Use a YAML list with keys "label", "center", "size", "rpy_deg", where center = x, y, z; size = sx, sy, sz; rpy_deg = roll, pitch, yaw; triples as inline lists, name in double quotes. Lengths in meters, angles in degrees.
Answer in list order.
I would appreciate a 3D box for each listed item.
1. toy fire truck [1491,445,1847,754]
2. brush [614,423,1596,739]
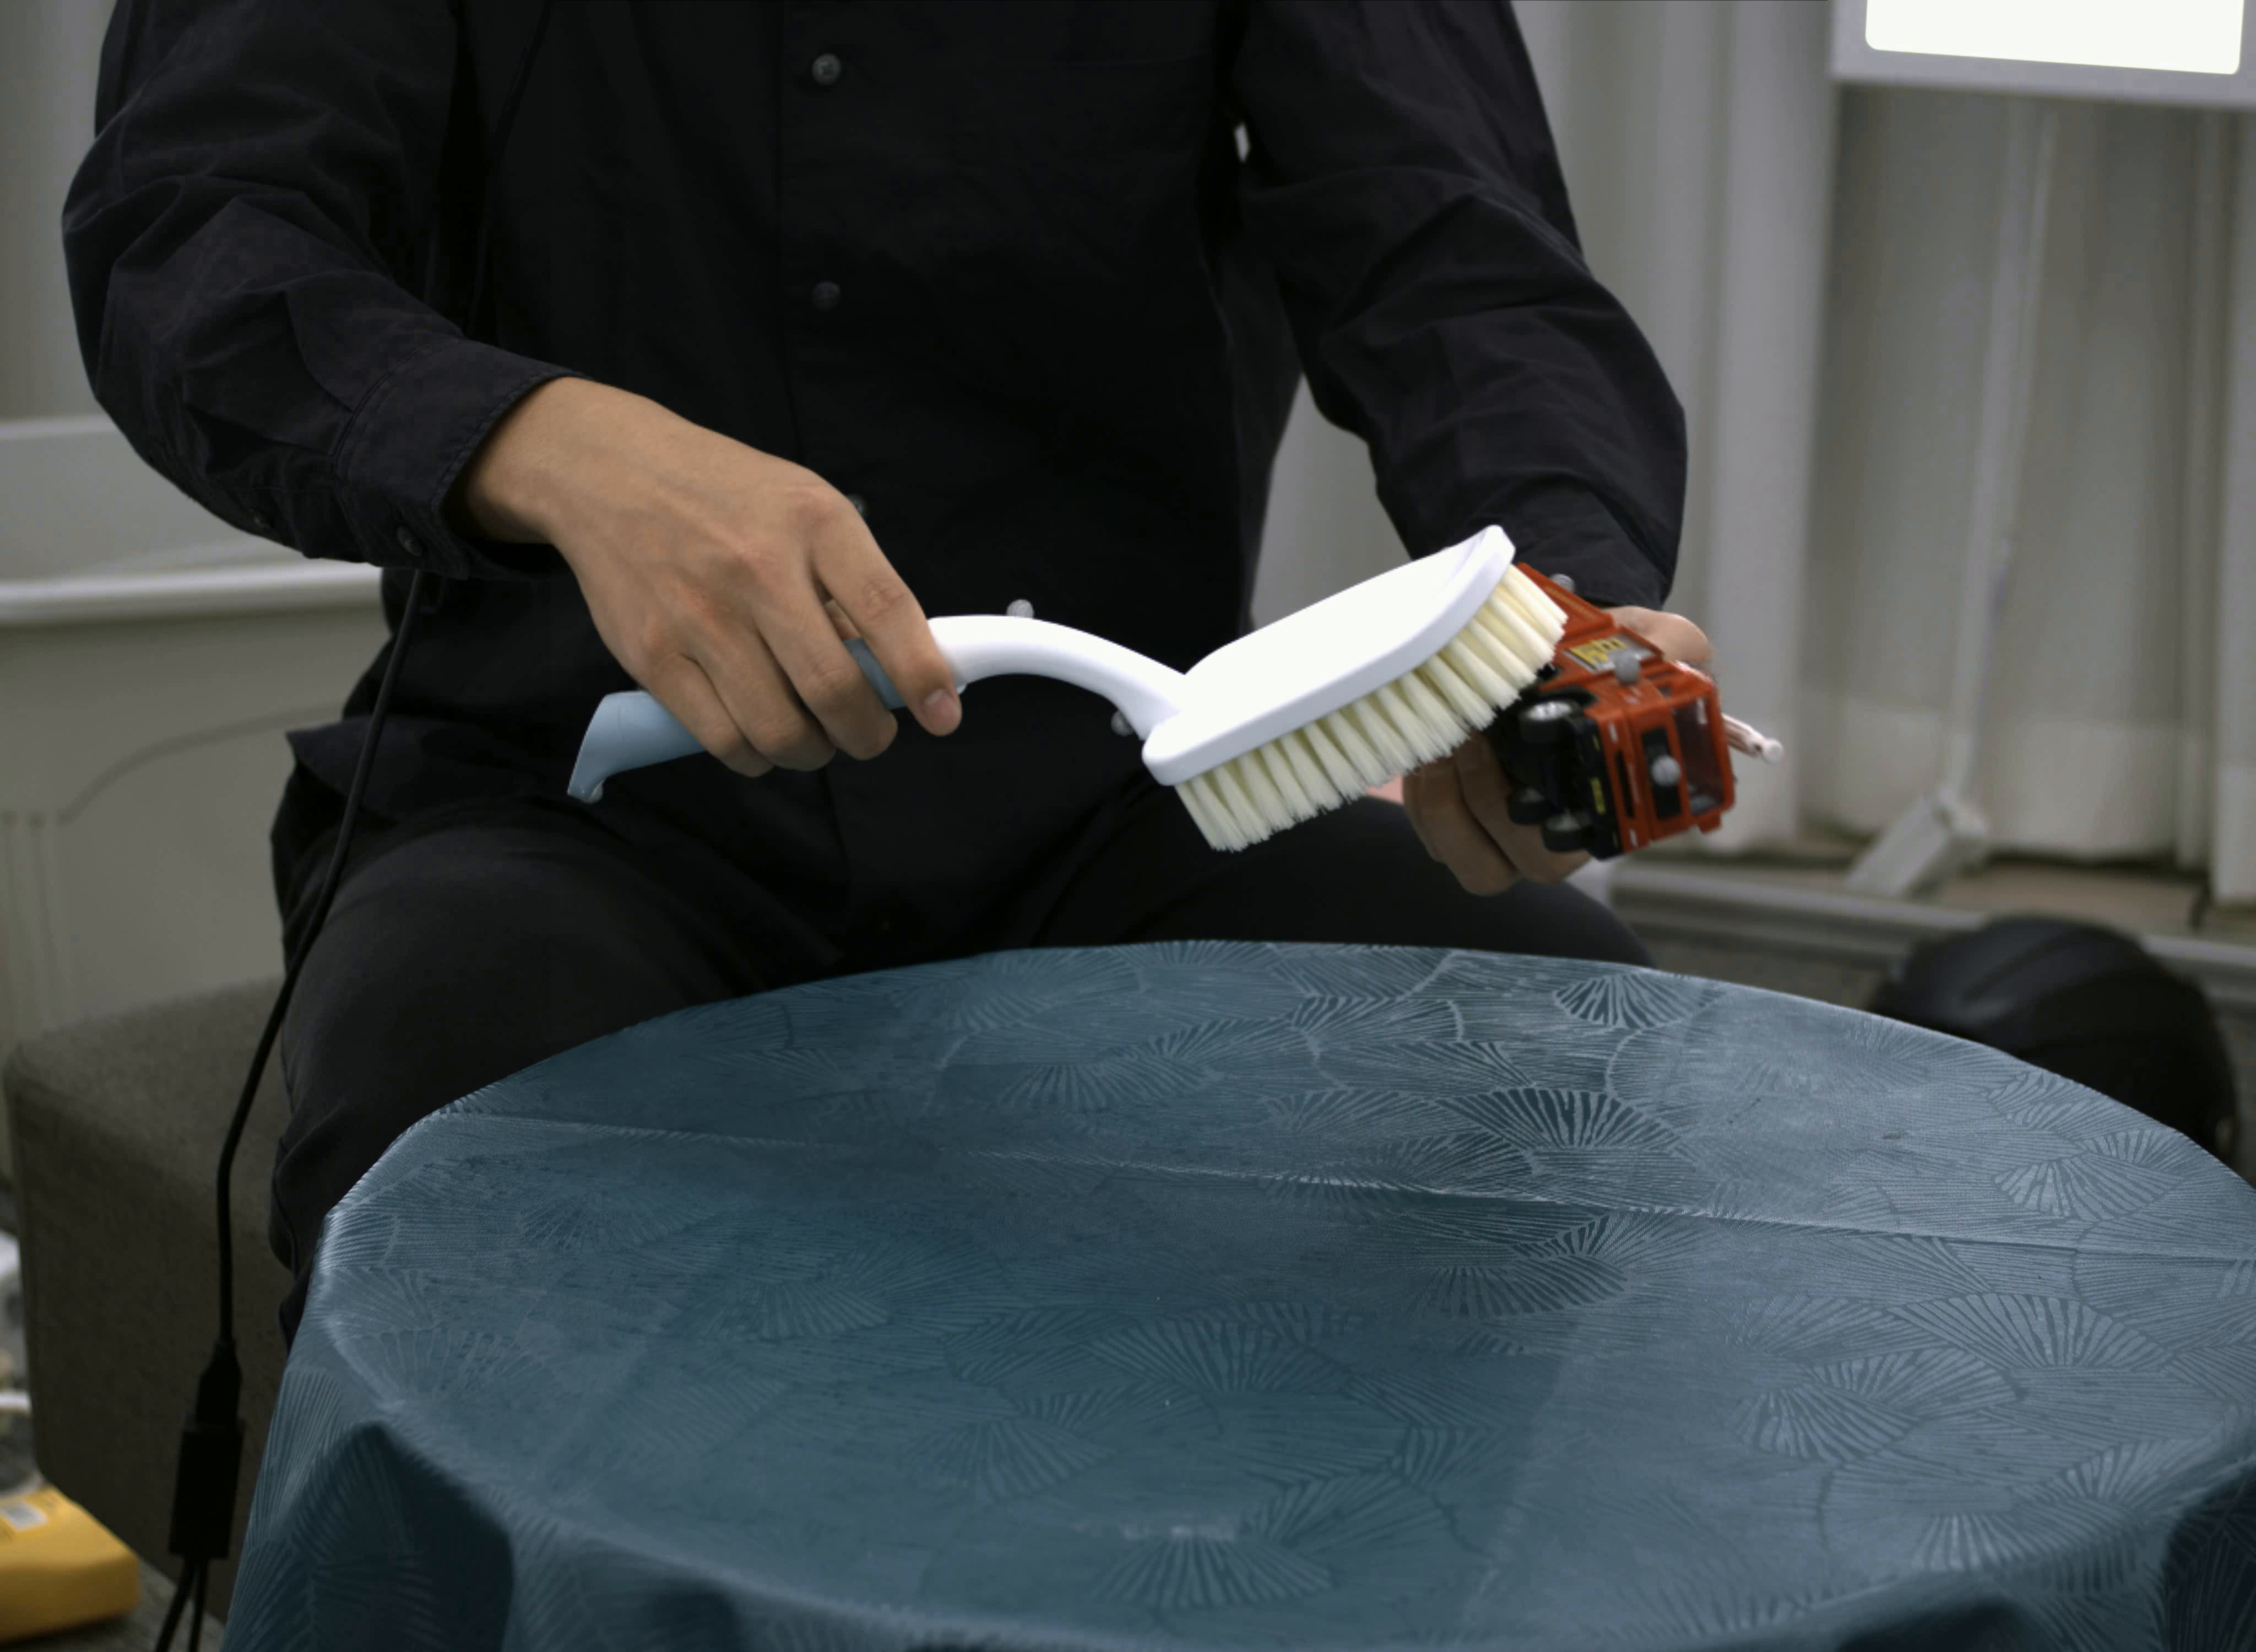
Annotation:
- label: "toy fire truck"
  center: [0.151, -0.070, 1.587]
  size: [0.070, 0.054, 0.166]
  rpy_deg: [-18, 21, -13]
- label: "brush"
  center: [-0.006, -0.056, 1.622]
  size: [0.323, 0.084, 0.084]
  rpy_deg: [-12, -9, 23]
